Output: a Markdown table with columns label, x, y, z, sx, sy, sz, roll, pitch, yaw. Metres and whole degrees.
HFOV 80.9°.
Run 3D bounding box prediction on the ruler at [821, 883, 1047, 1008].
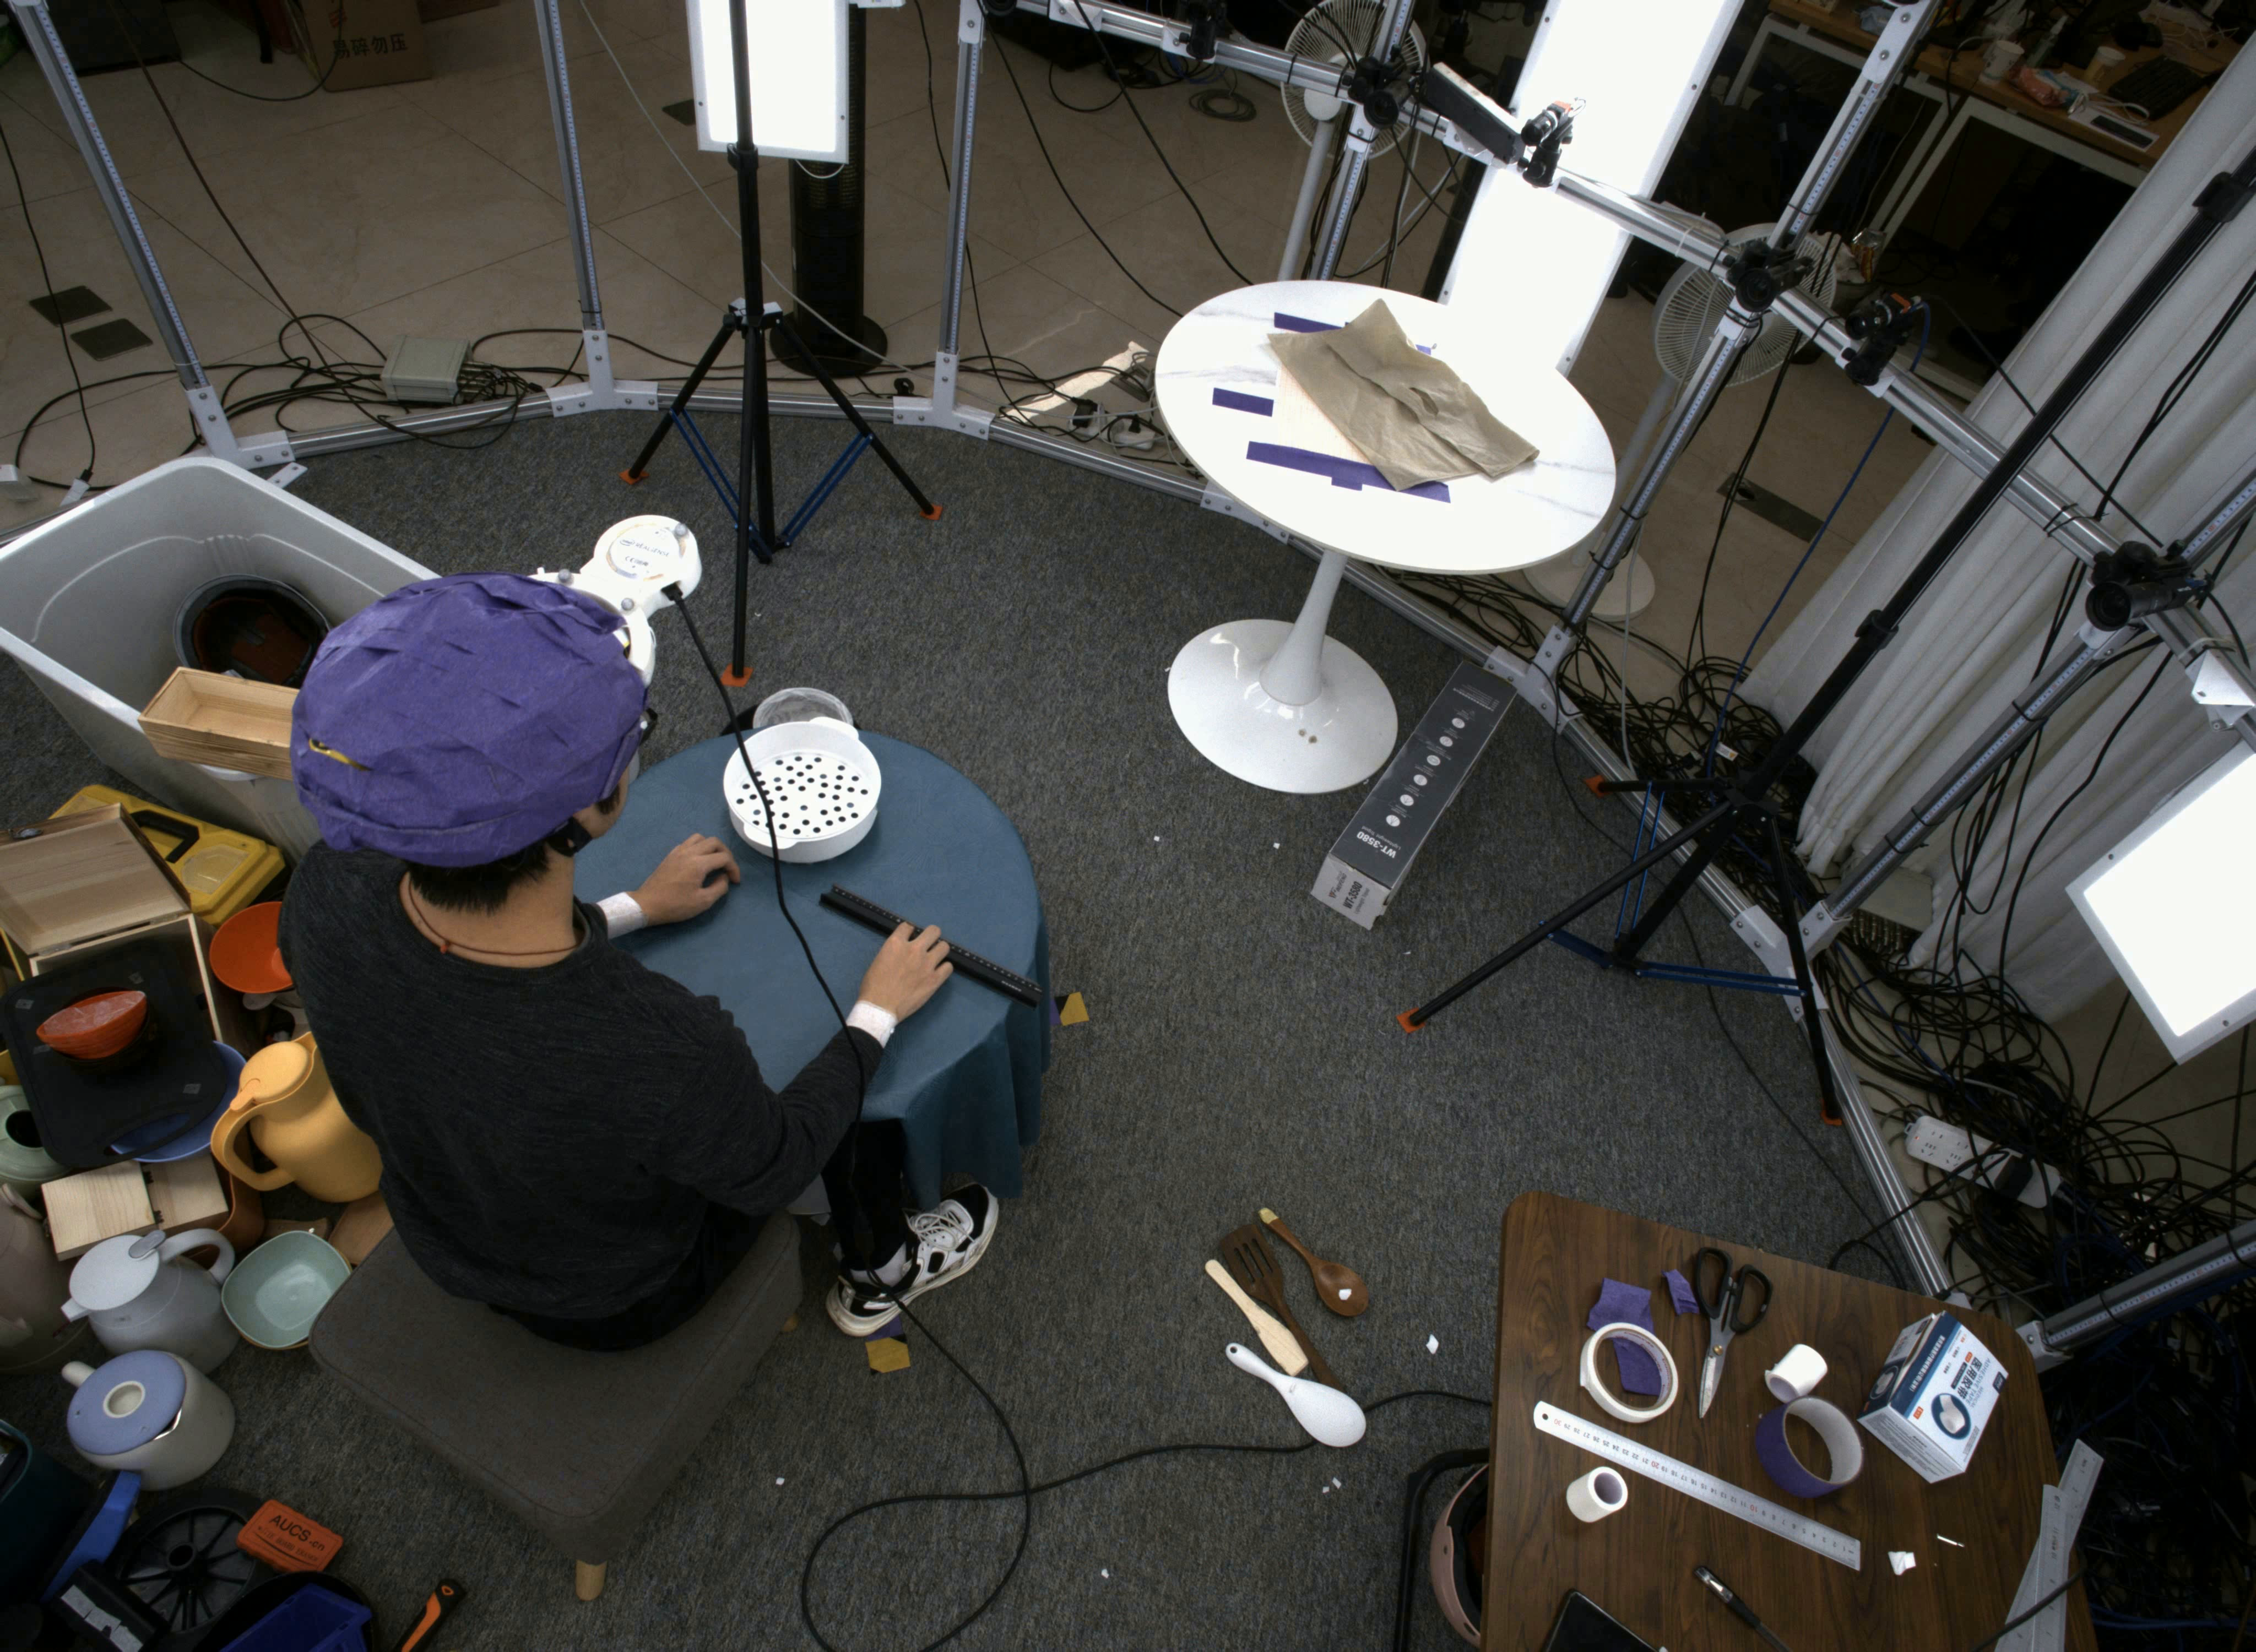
| label | x | y | z | sx | sy | sz | roll | pitch | yaw |
| --- | --- | --- | --- | --- | --- | --- | --- | --- | --- |
| ruler | -0.246 | 0.144 | 1.648 | 0.308 | 0.017 | 0.039 | 25 | 49 | 5 |

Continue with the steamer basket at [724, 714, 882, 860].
| label | x | y | z | sx | sy | sz | roll | pitch | yaw |
| --- | --- | --- | --- | --- | --- | --- | --- | --- | --- |
| steamer basket | -0.428 | -0.048 | 1.710 | 0.200 | 0.070 | 0.228 | 19 | 49 | 0 |
